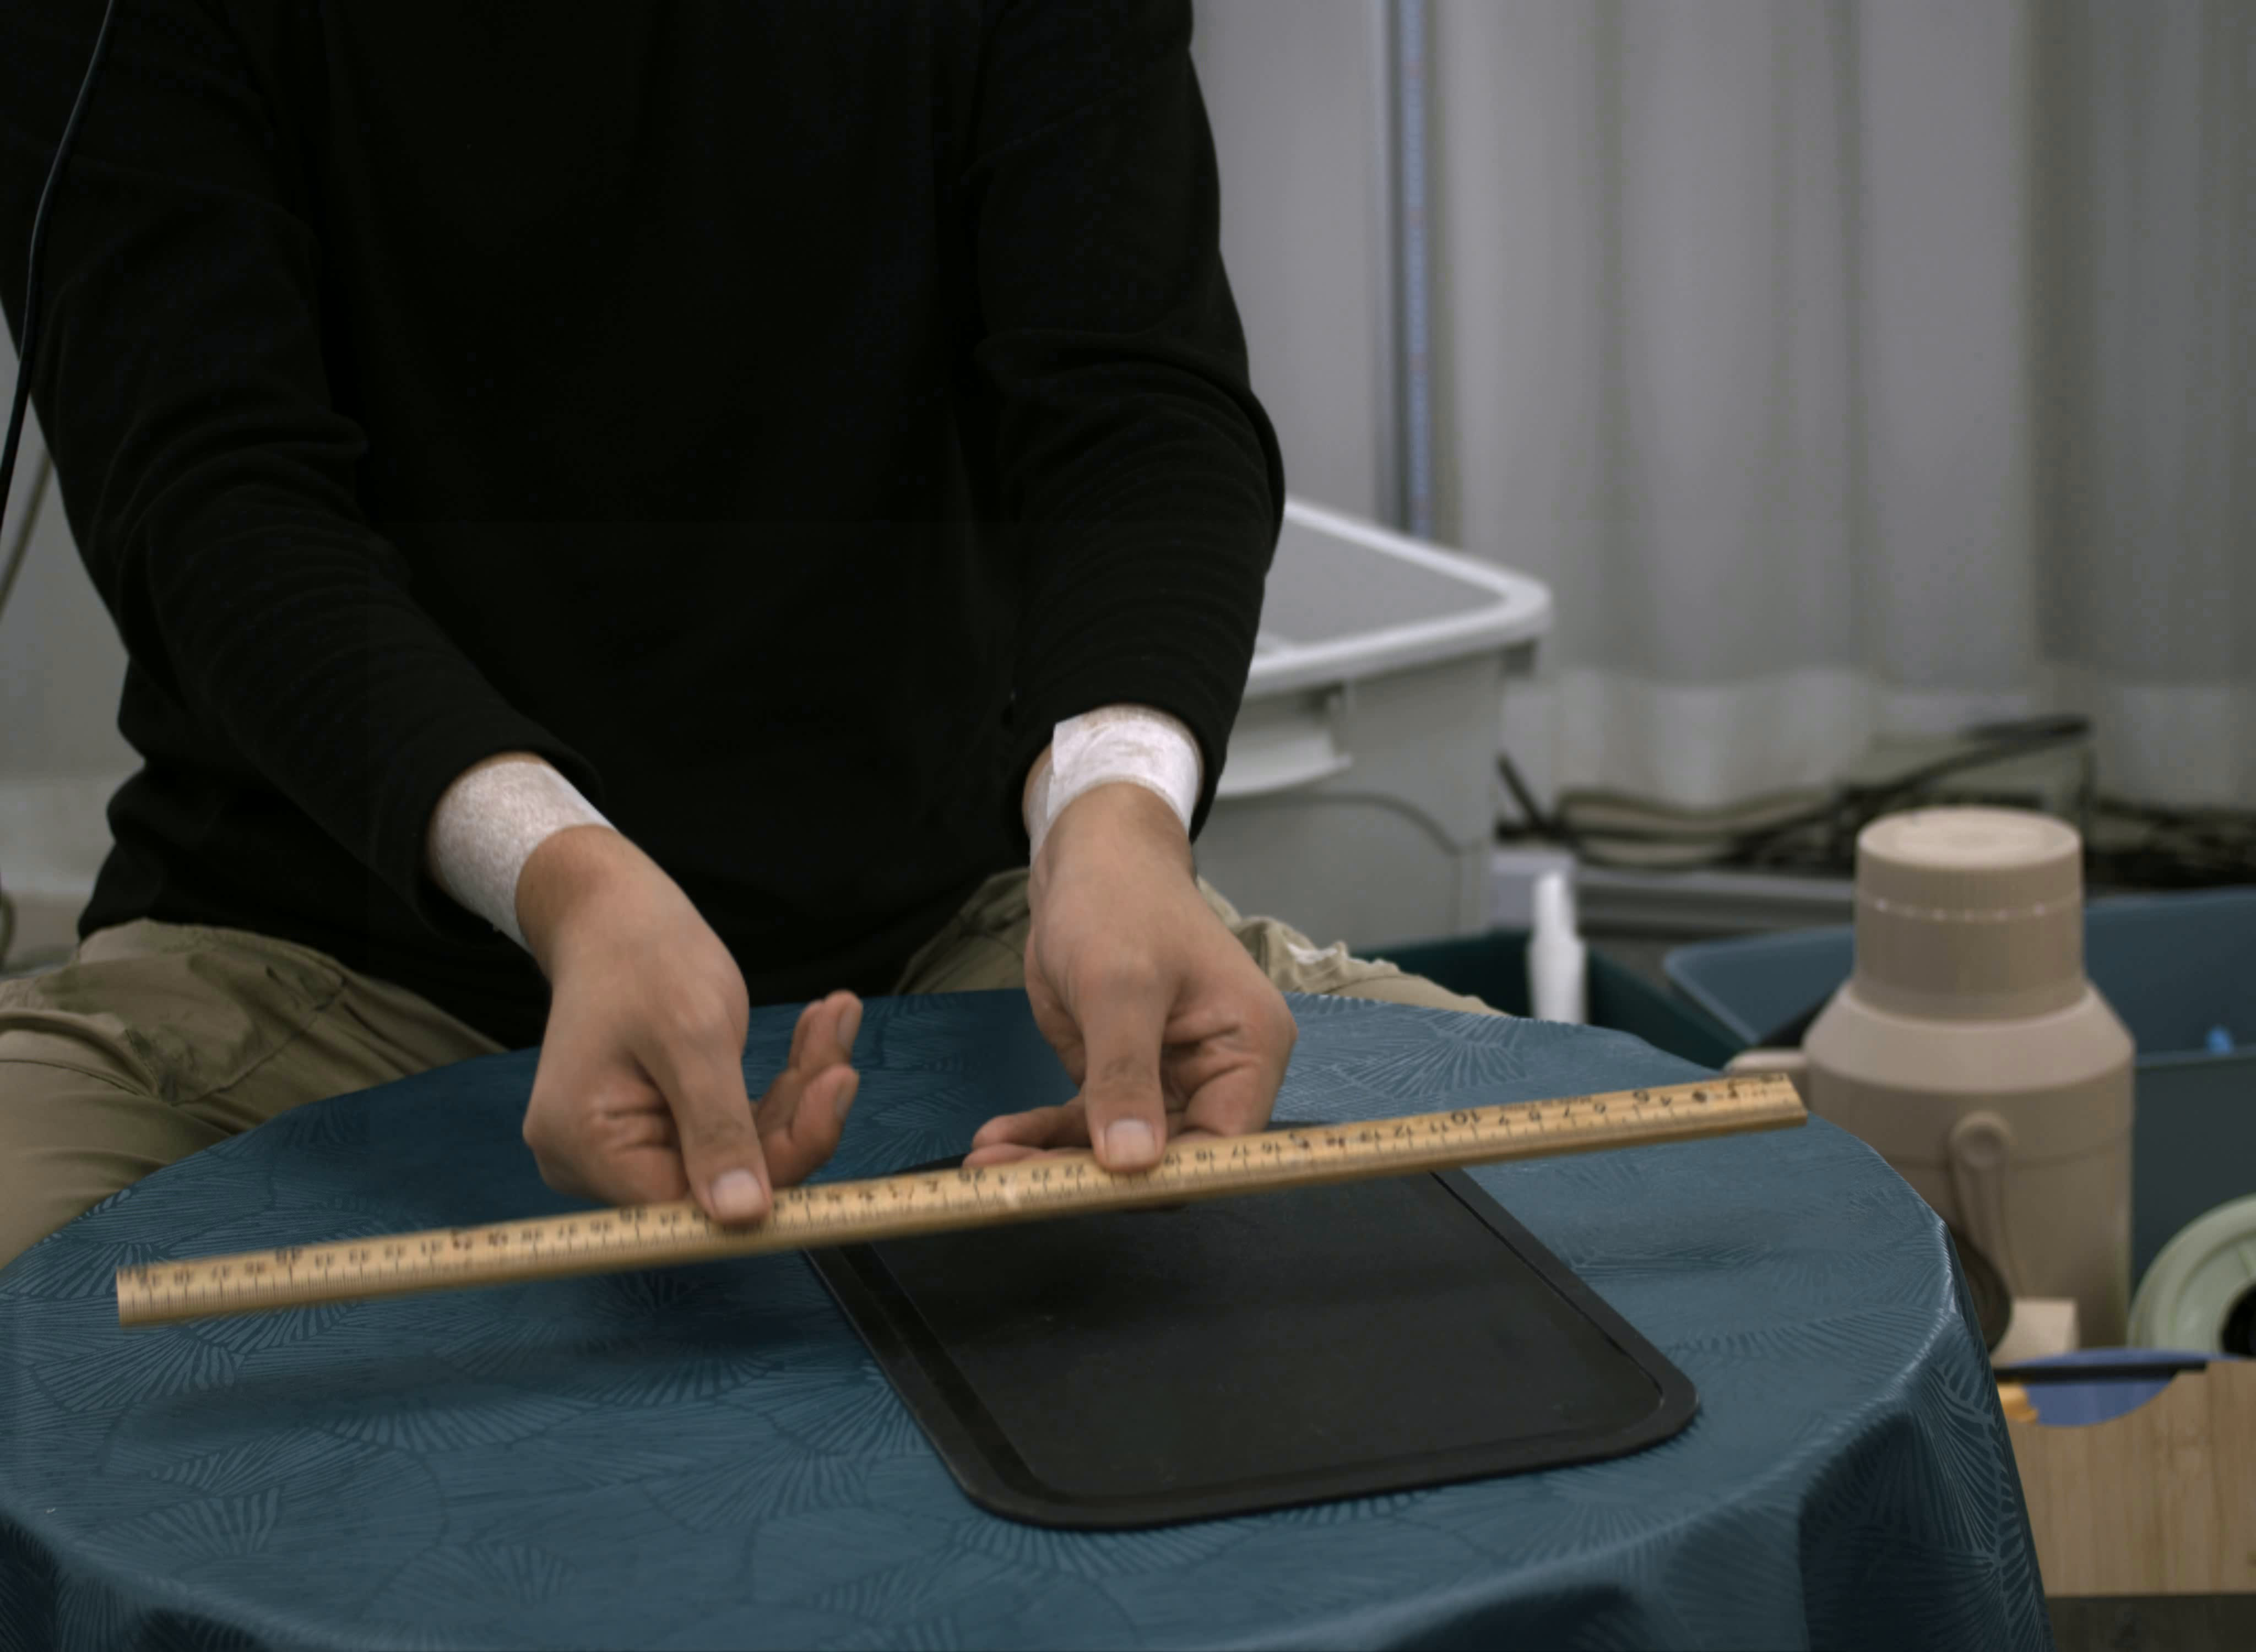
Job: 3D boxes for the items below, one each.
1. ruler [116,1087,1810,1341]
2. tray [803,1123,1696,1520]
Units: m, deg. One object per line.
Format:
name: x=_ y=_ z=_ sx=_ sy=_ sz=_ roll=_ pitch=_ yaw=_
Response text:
ruler: x=-0.044 y=0.112 z=1.601 sx=0.498 sy=0.006 sz=0.027 roll=-6 pitch=31 yaw=-9
tray: x=0.025 y=0.138 z=1.609 sx=0.210 sy=0.010 sz=0.328 roll=-6 pitch=15 yaw=-13
